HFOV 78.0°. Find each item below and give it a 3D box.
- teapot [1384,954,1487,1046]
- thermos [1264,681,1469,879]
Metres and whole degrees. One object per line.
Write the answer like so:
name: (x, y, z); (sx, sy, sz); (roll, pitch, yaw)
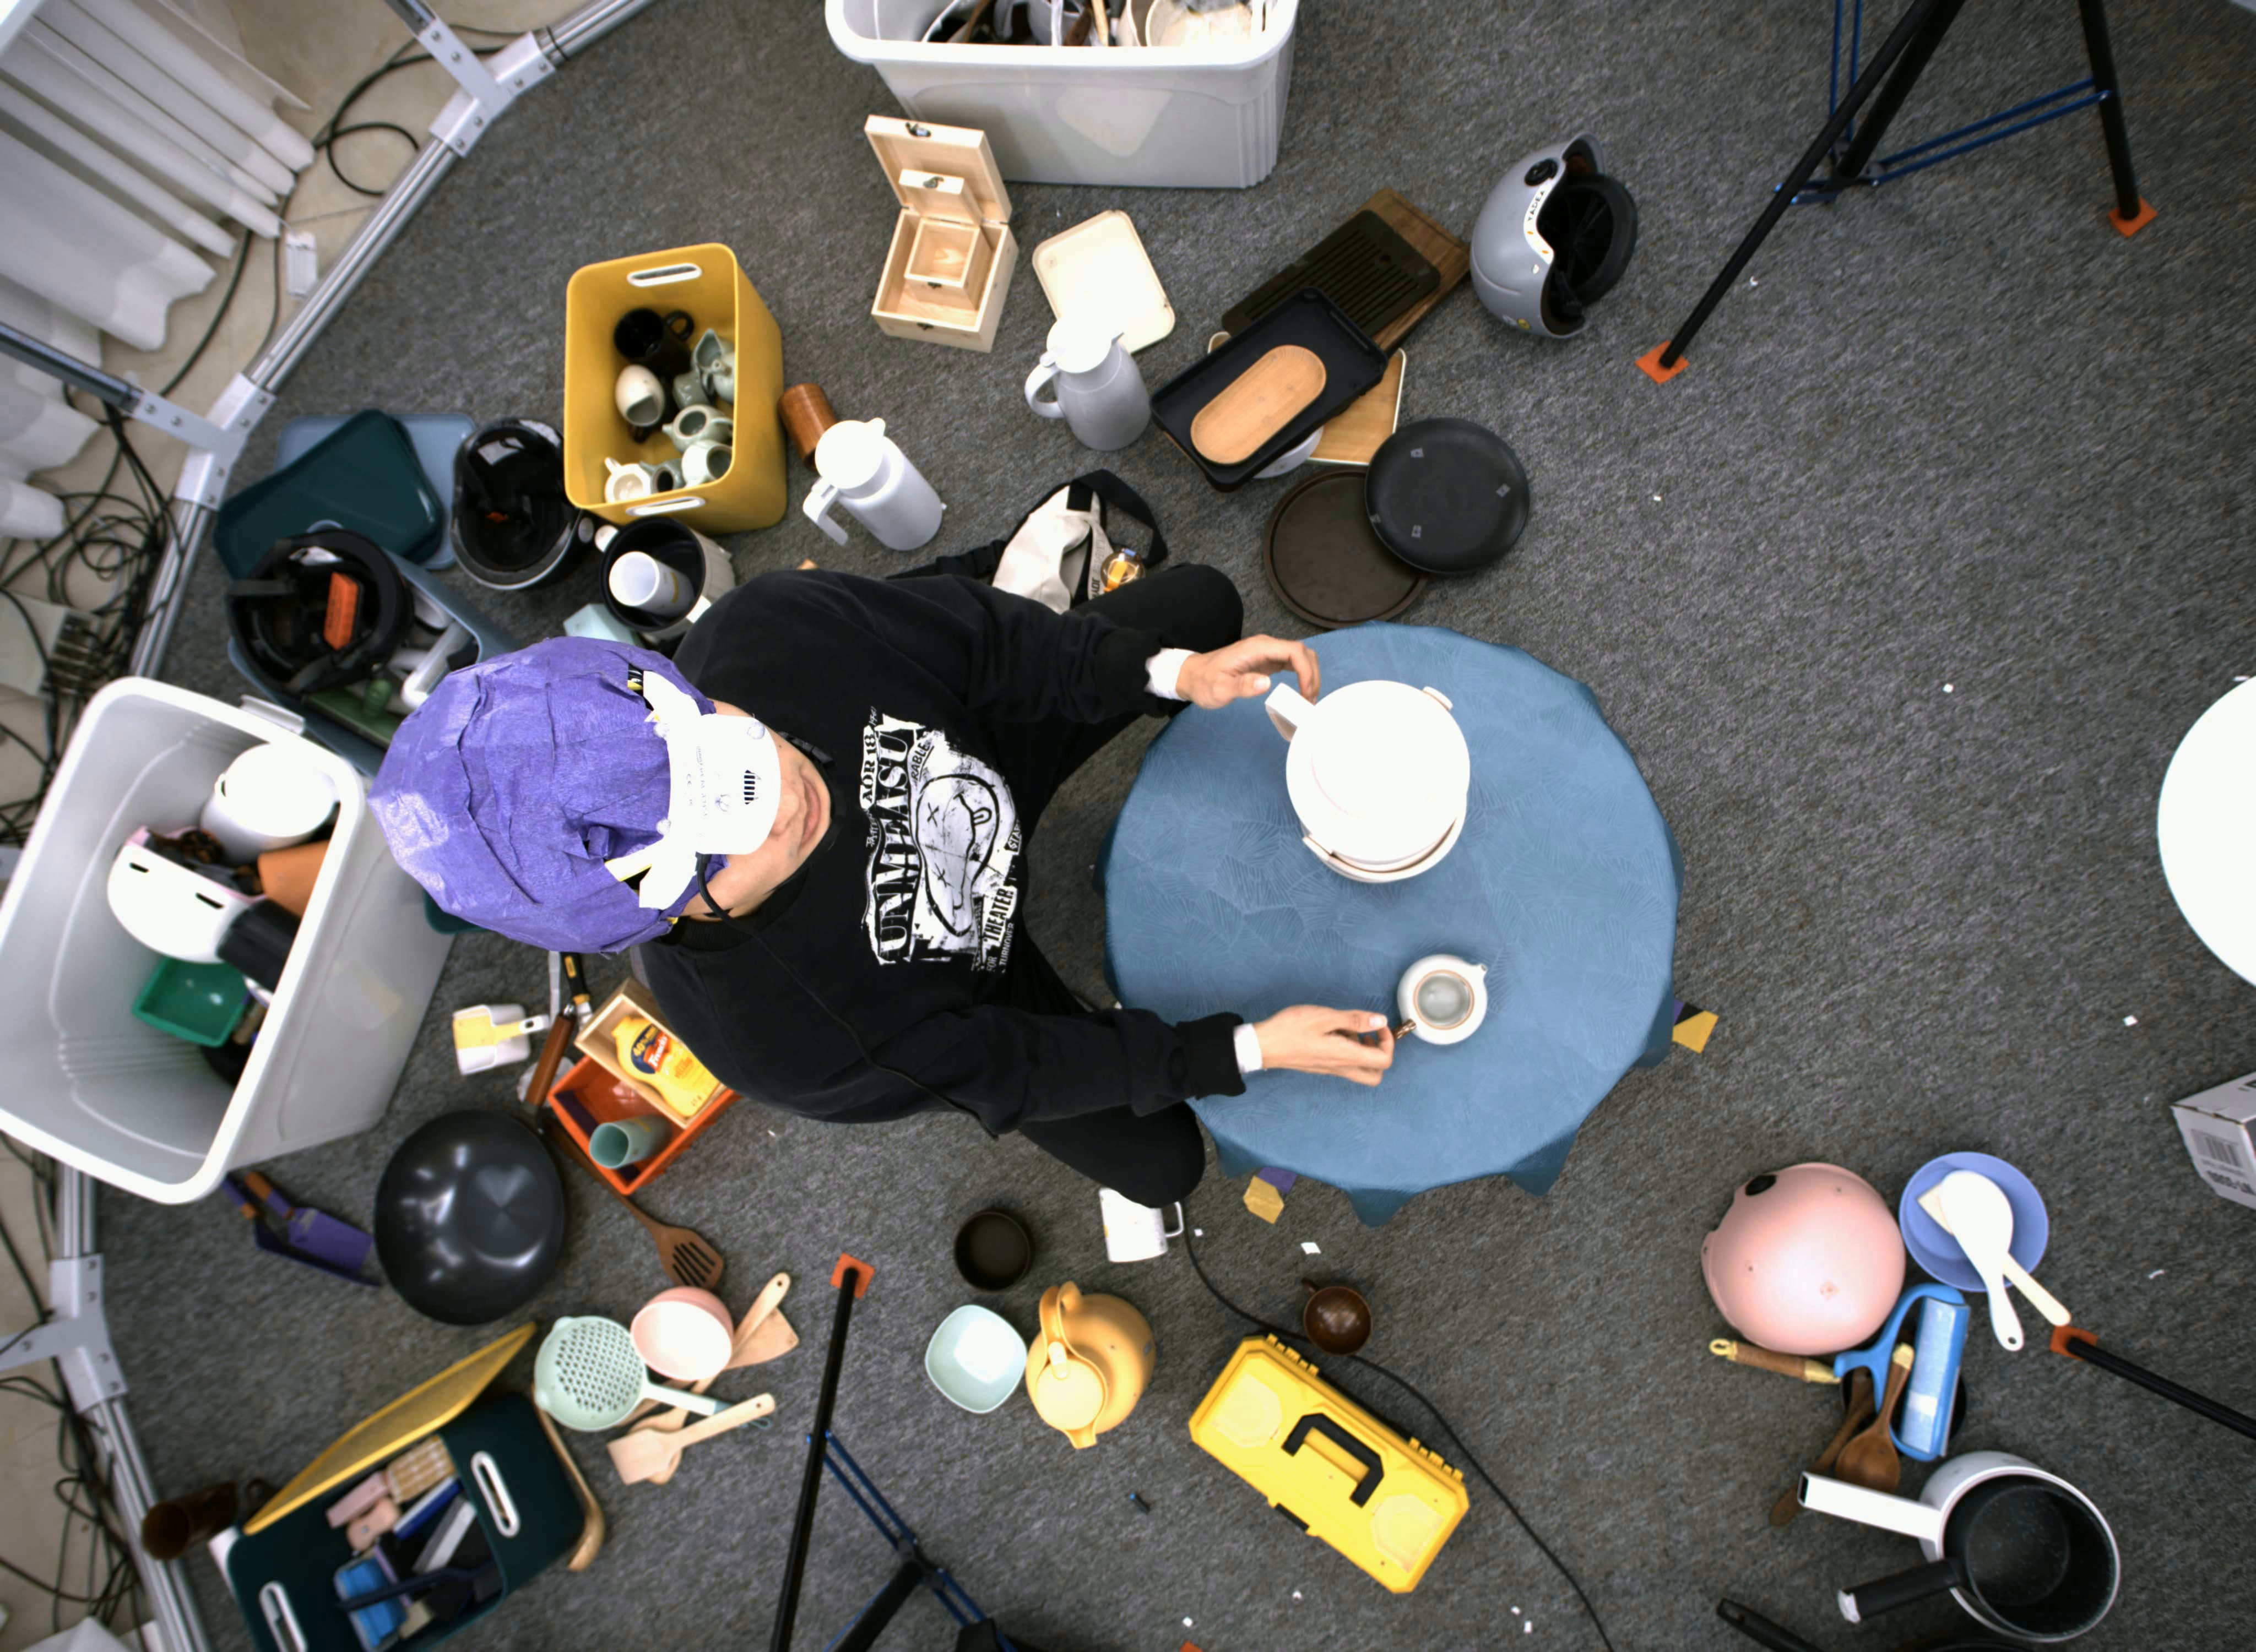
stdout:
teapot: (0.314, 0.182, 1.418); (0.128, 0.059, 0.091); (-41, 83, 4)
thermos: (0.219, -0.050, 1.276); (0.206, 0.406, 0.176); (38, 94, 11)
